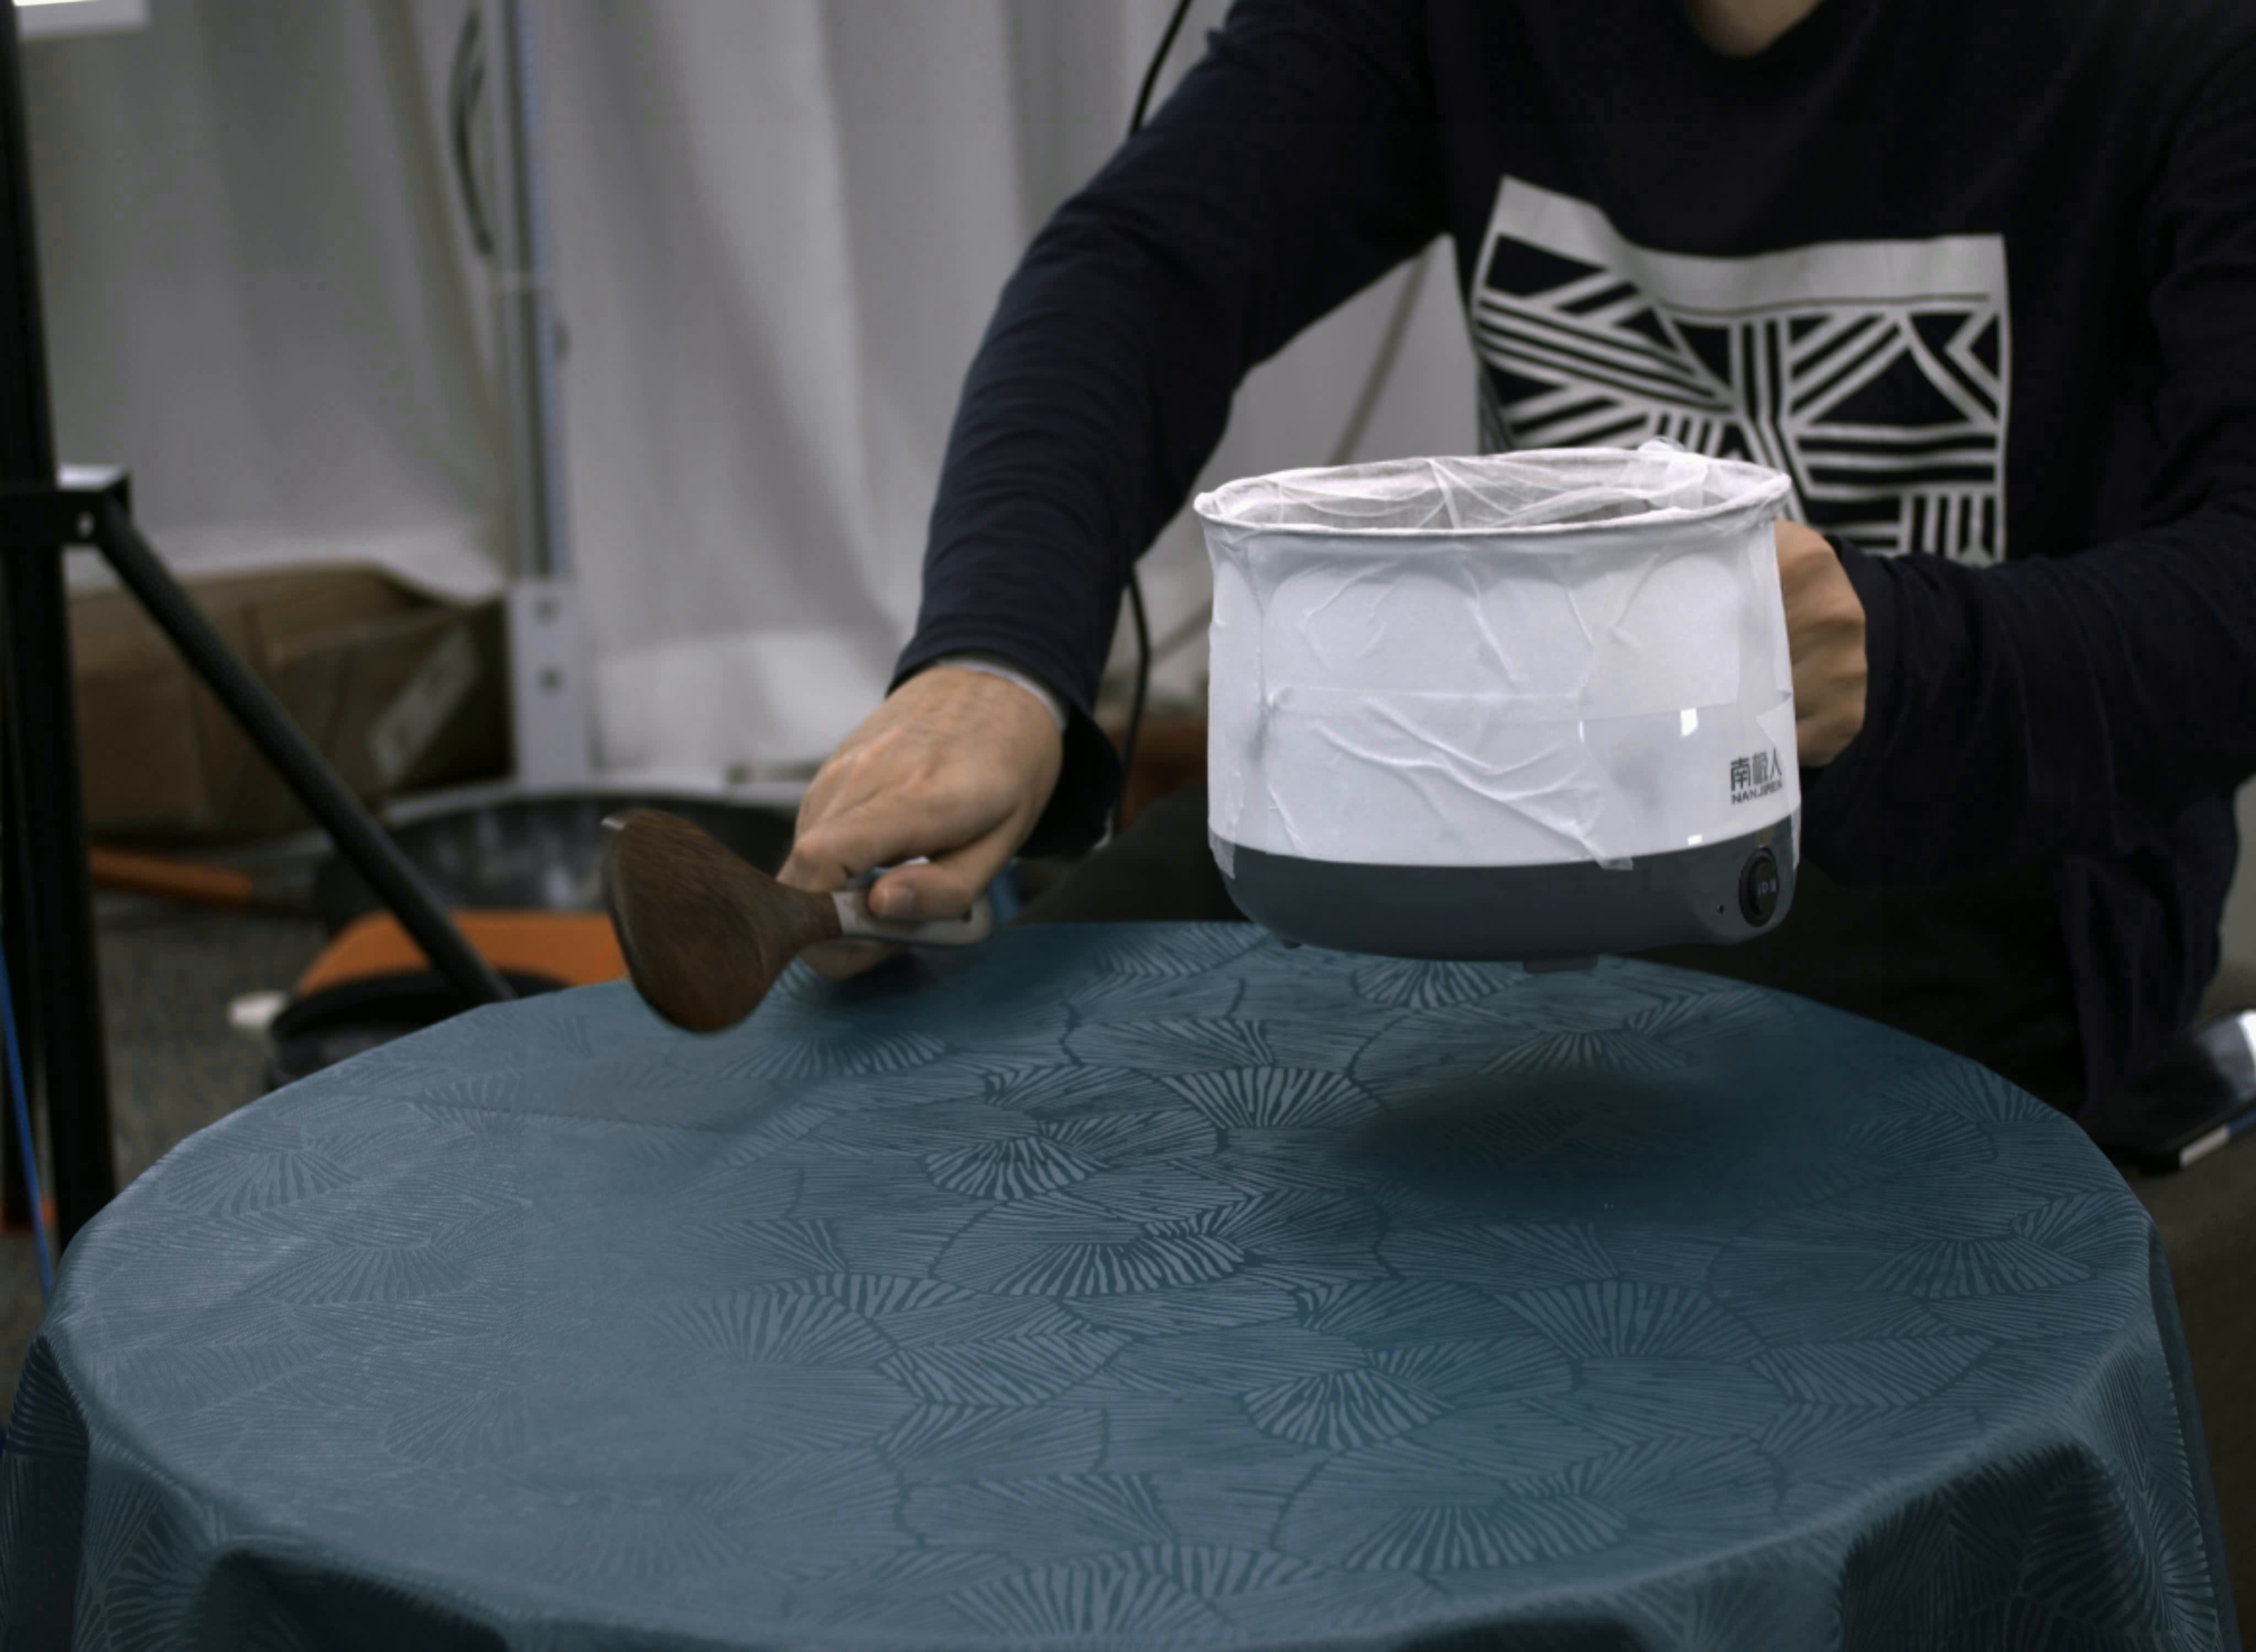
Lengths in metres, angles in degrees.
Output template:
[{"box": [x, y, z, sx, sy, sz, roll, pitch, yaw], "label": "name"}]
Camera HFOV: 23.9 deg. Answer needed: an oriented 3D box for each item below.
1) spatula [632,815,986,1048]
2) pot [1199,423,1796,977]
[{"box": [-0.099, 0.030, 1.698, 0.009, 0.072, 0.211, -5, -1, 30], "label": "spatula"}, {"box": [0.125, -0.043, 1.601, 0.182, 0.137, 0.229, 7, 15, 34], "label": "pot"}]
